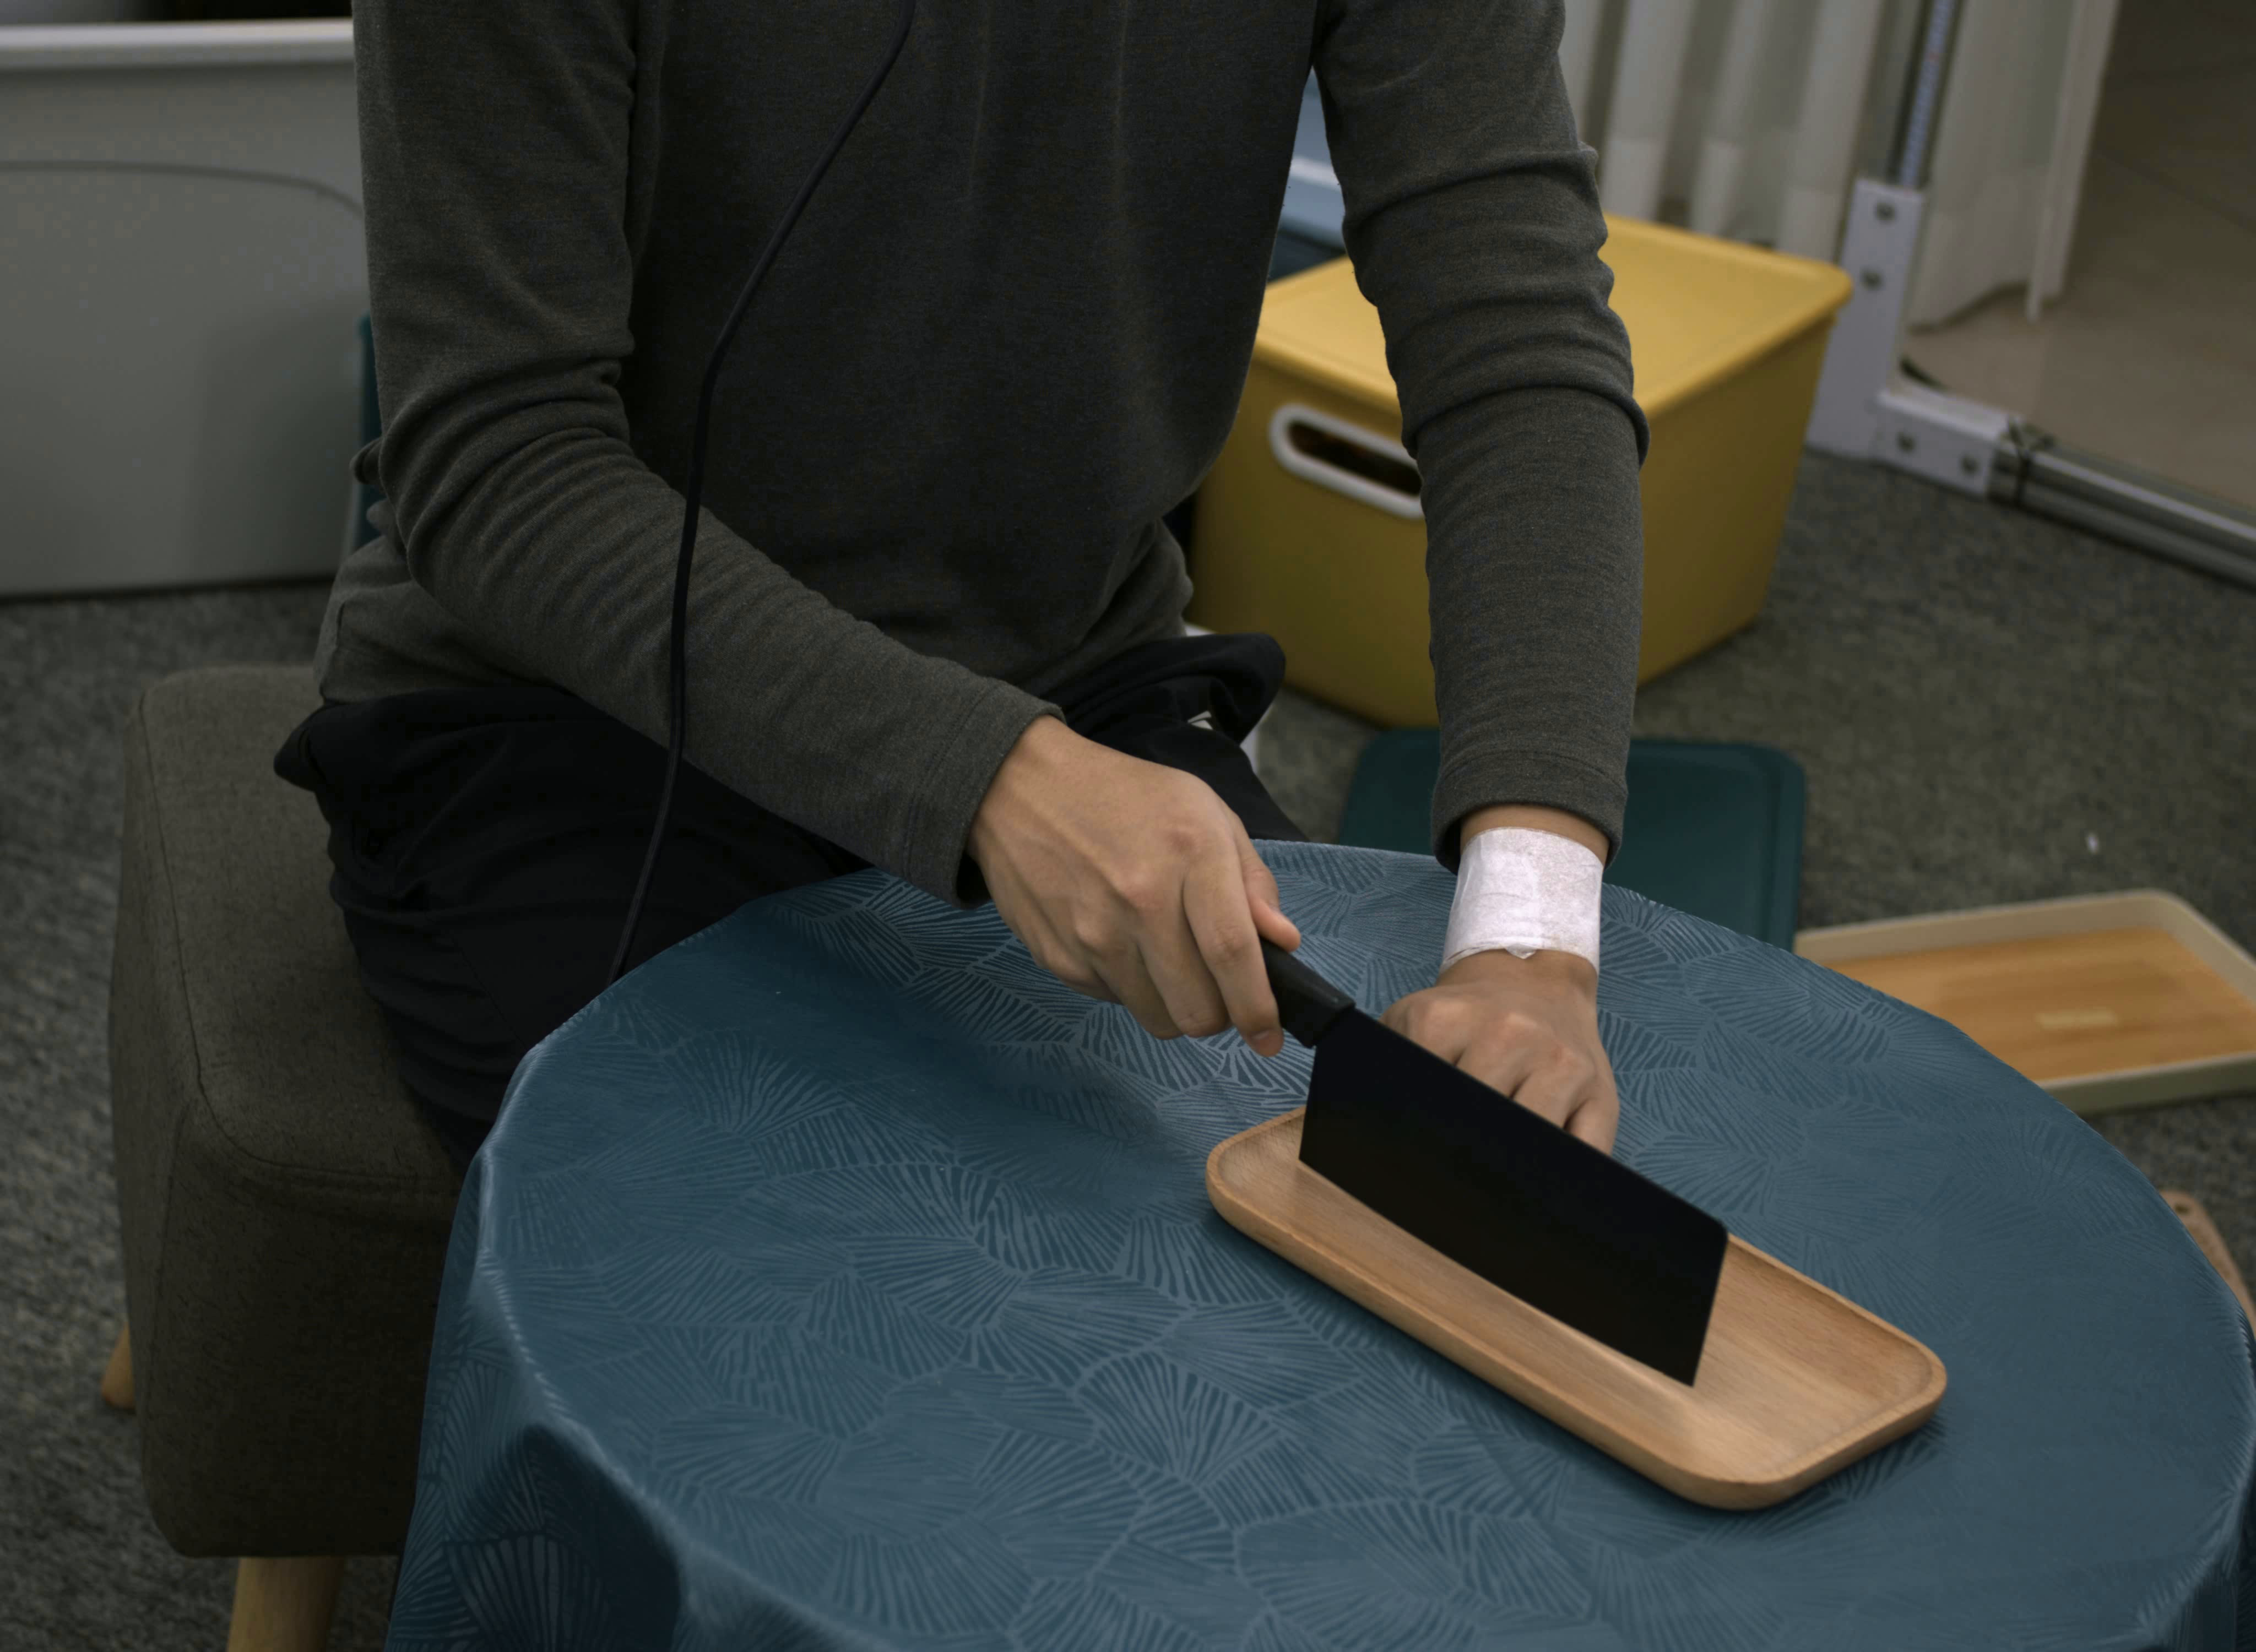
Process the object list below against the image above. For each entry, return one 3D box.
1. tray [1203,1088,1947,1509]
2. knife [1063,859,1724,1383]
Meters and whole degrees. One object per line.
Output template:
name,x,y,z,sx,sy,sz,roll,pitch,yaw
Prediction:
tray,0.145,0.151,1.766,0.130,0.023,0.252,-16,33,-42
knife,0.083,0.092,1.782,0.021,0.081,0.305,-13,37,-42
